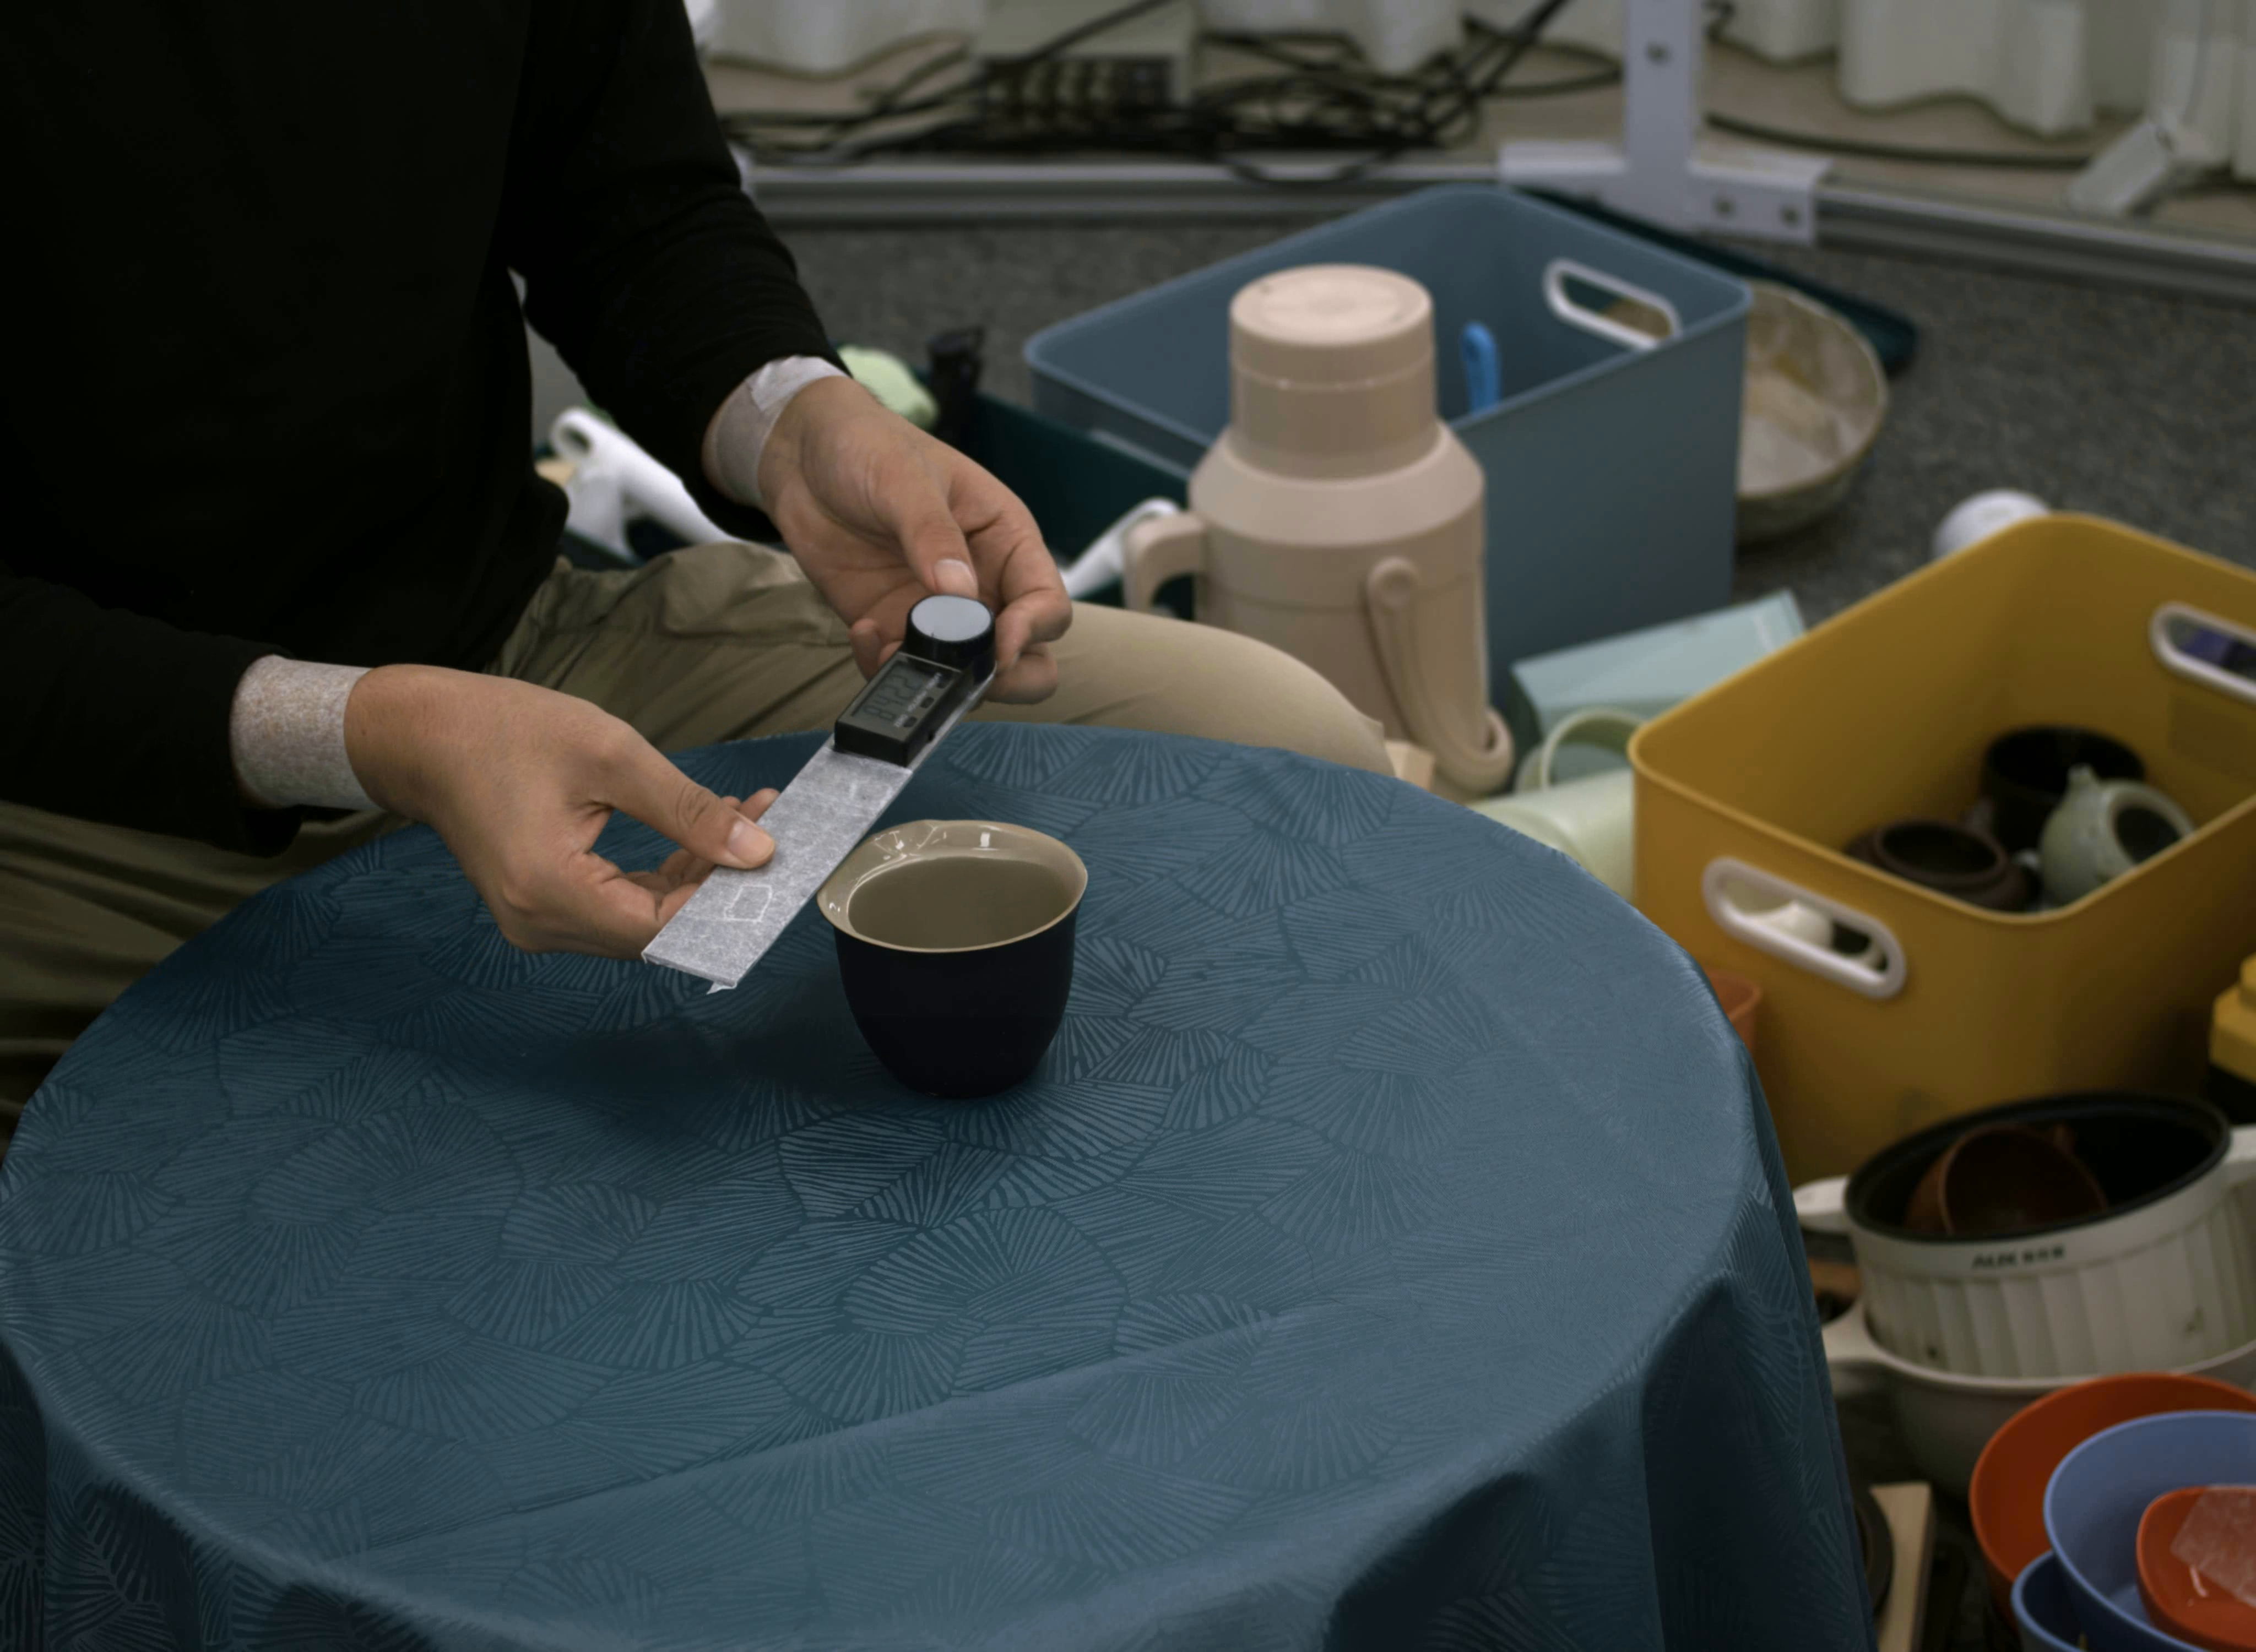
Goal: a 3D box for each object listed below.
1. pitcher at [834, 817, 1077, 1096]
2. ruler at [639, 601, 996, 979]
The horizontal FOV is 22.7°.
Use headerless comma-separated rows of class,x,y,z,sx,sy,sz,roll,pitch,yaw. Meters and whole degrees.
pitcher,-0.060,0.048,1.931,0.084,0.070,0.096,-14,30,-20
ruler,-0.103,-0.016,1.943,0.038,0.024,0.222,10,35,22
